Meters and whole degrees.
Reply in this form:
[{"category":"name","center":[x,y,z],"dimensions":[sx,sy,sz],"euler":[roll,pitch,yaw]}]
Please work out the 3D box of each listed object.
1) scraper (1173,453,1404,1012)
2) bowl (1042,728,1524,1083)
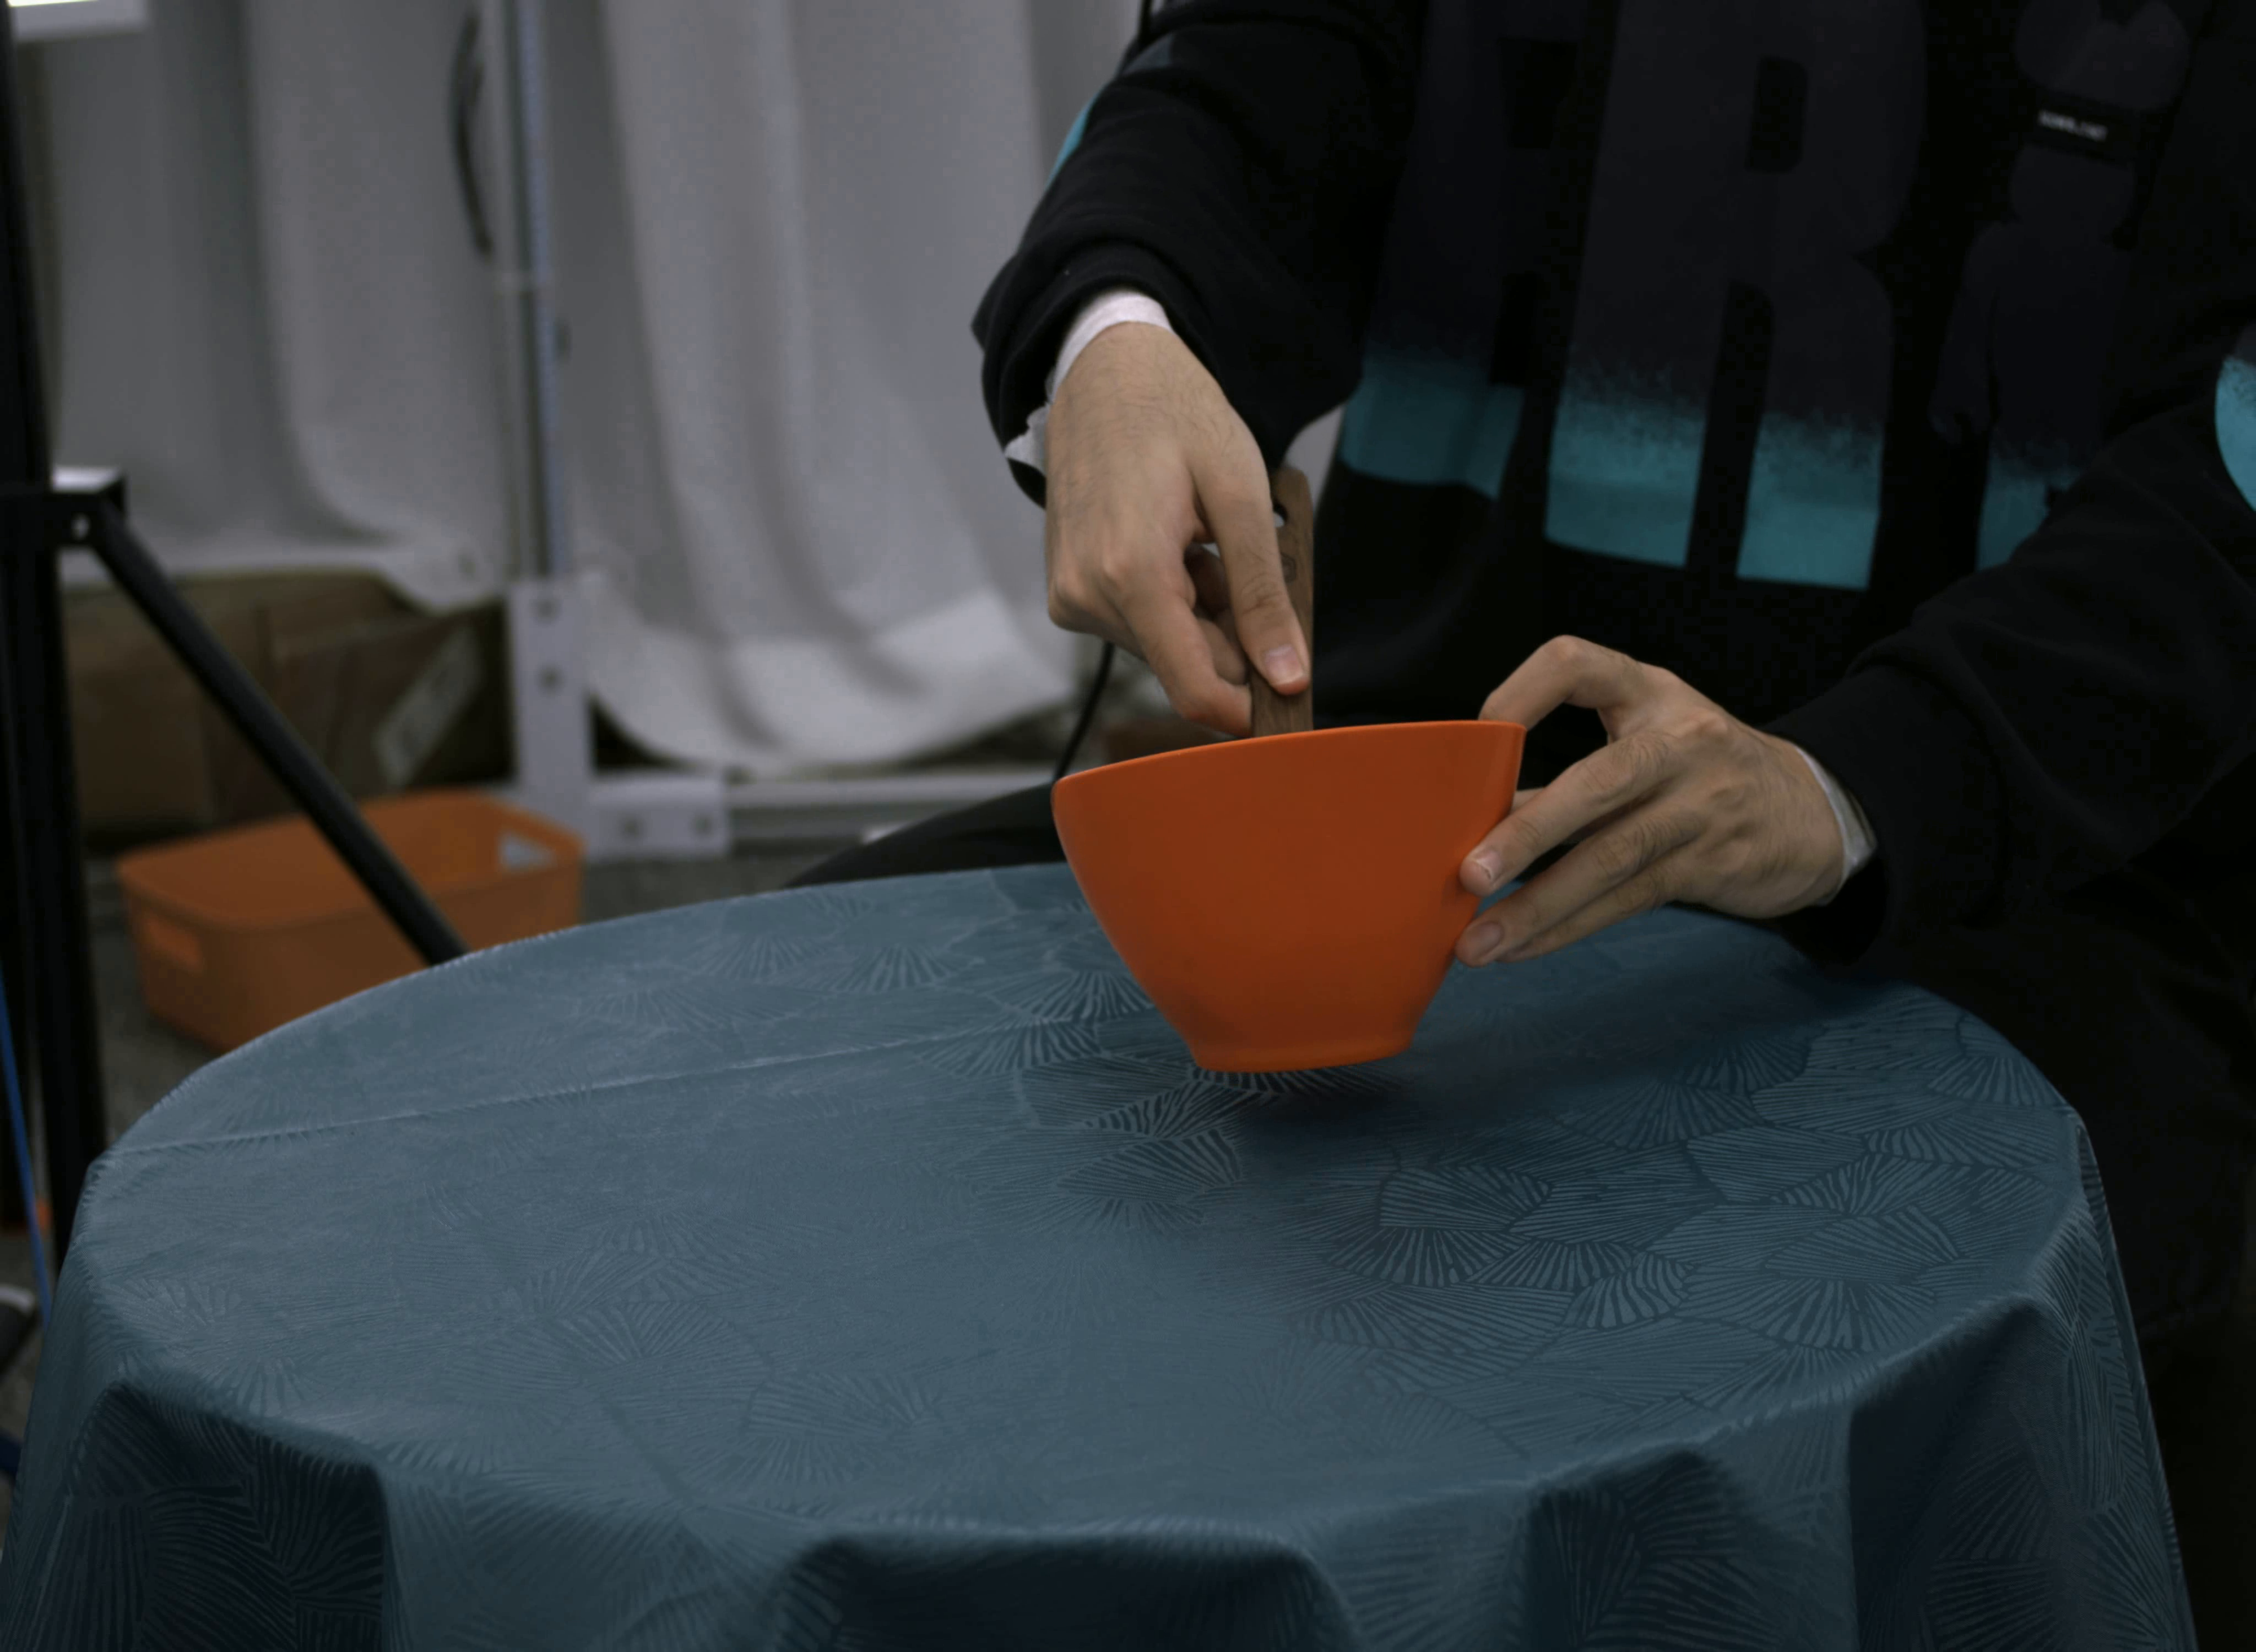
[{"category":"scraper","center":[0.047,-0.030,1.654],"dimensions":[0.075,0.011,0.214],"euler":[5,56,-10]},{"category":"bowl","center":[0.050,0.023,1.610],"dimensions":[0.147,0.105,0.148],"euler":[-5,3,-1]}]
